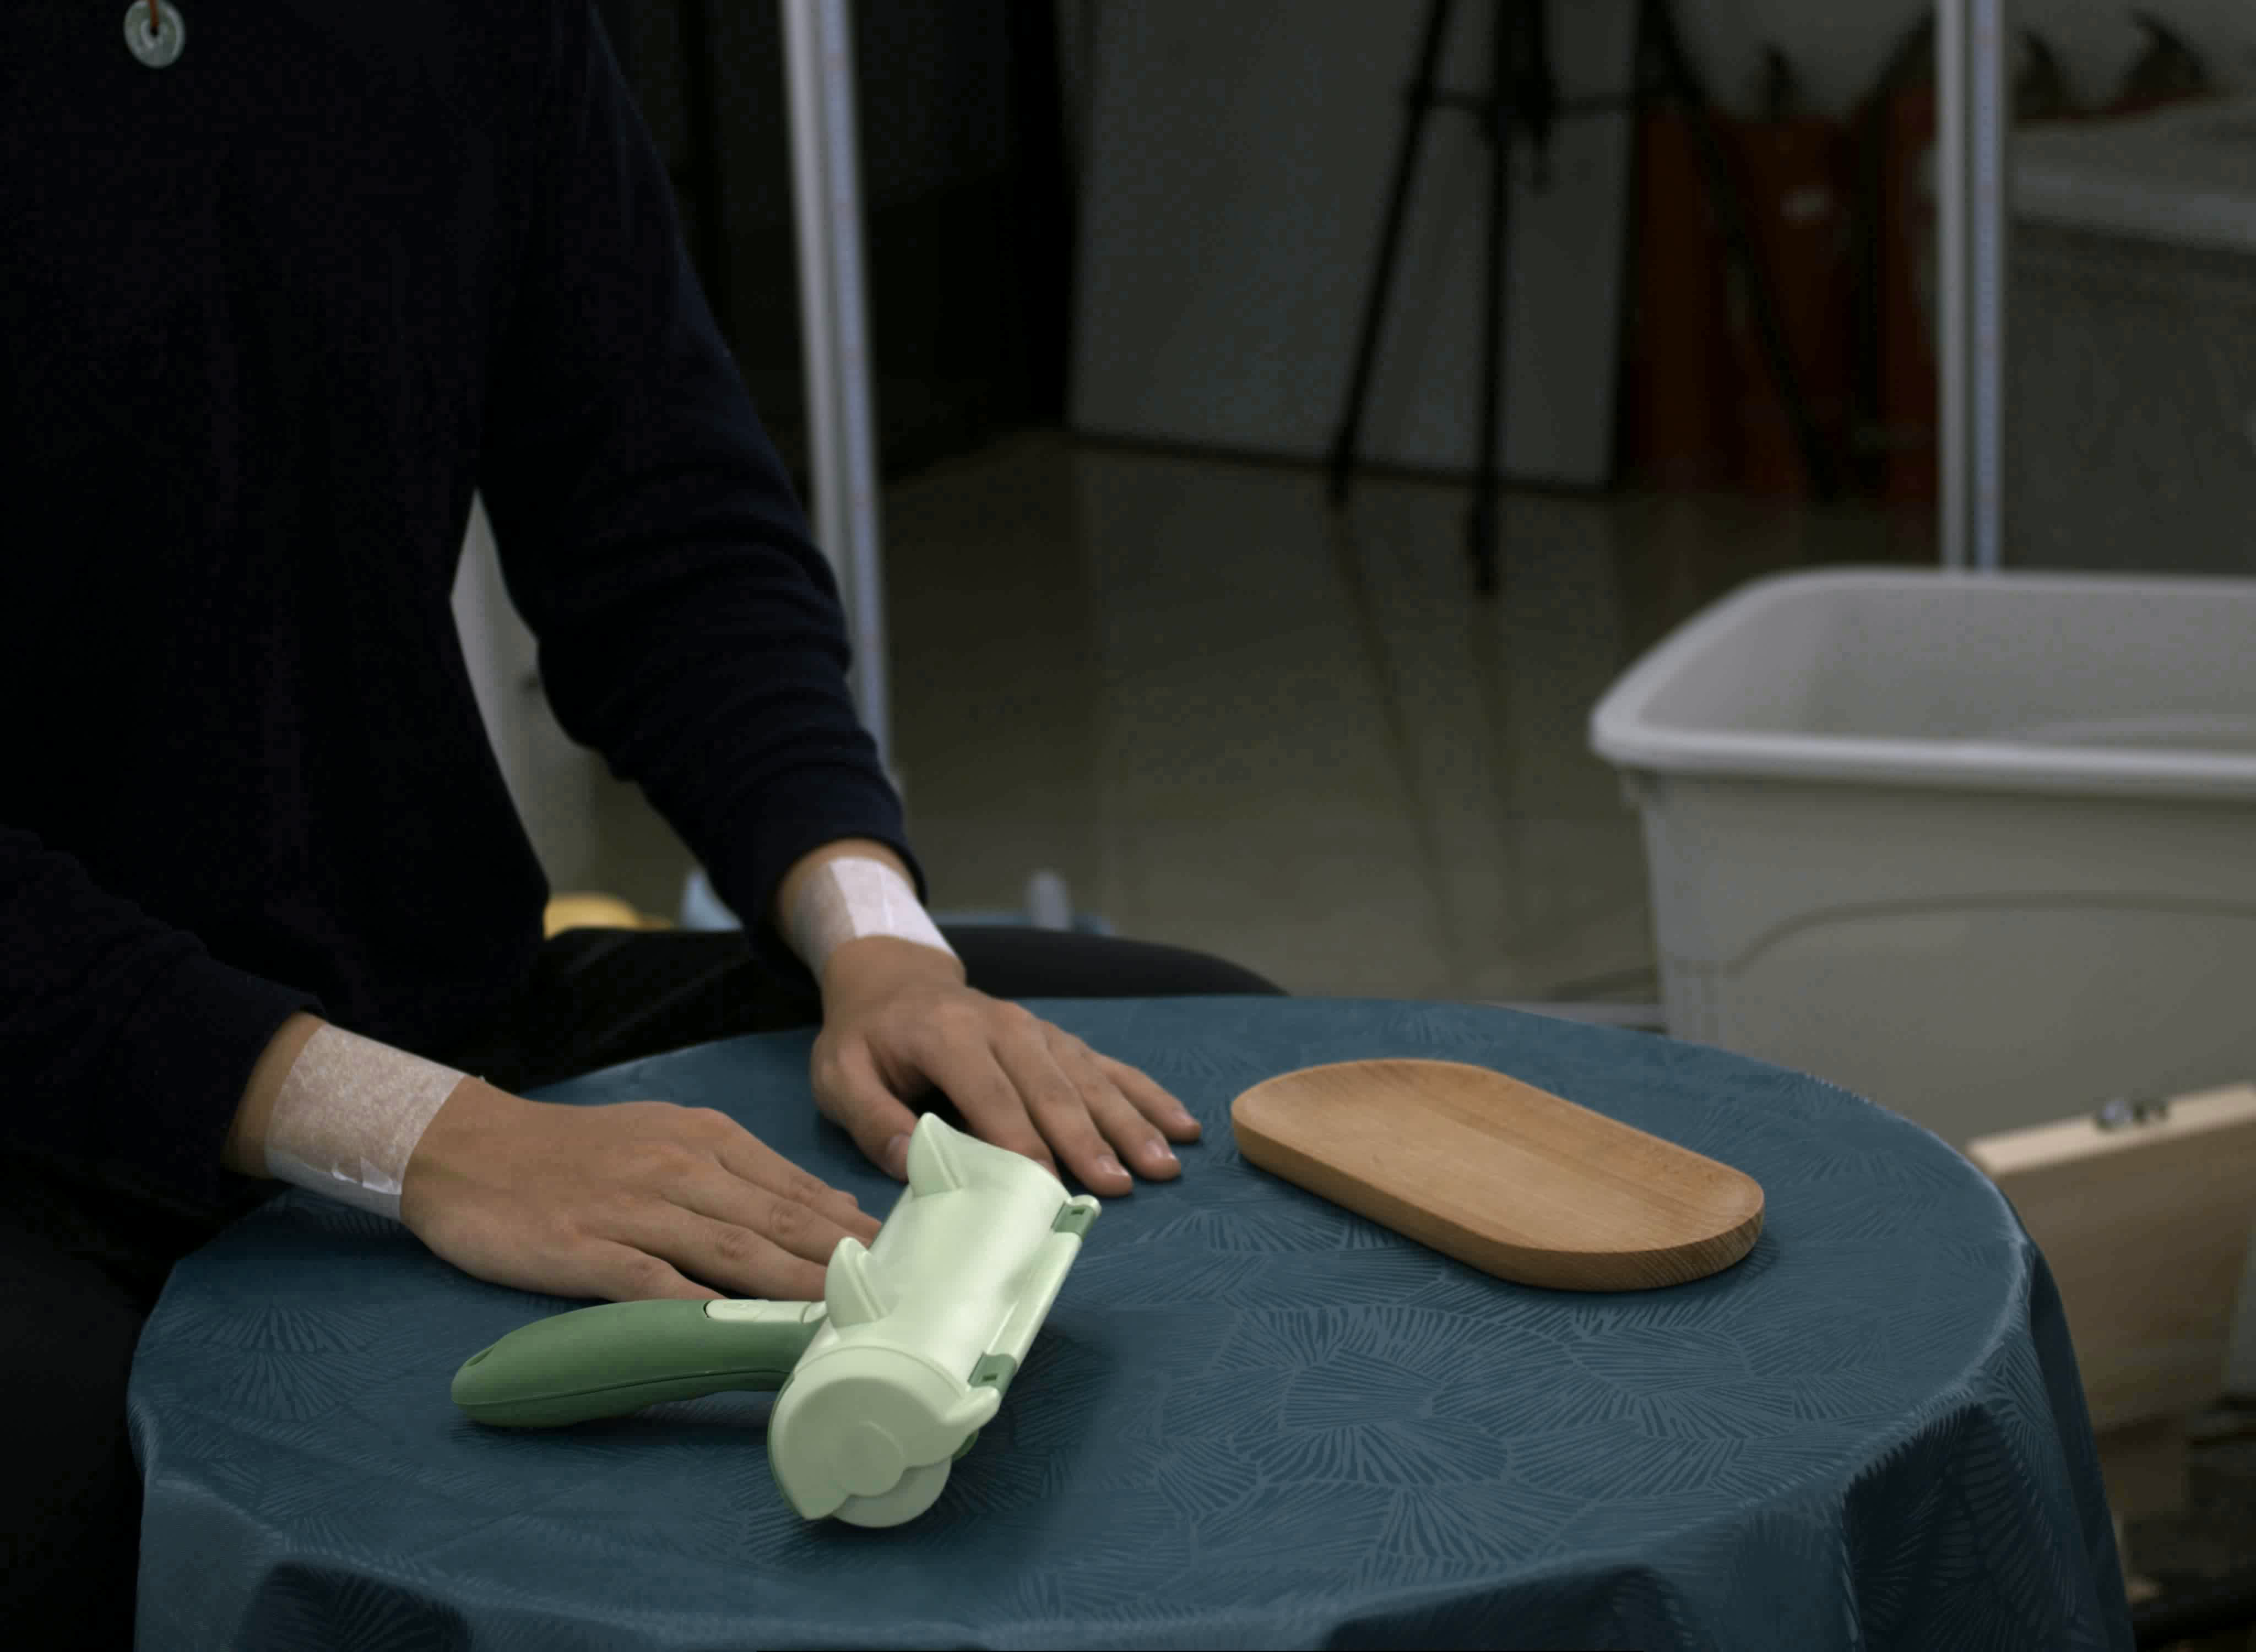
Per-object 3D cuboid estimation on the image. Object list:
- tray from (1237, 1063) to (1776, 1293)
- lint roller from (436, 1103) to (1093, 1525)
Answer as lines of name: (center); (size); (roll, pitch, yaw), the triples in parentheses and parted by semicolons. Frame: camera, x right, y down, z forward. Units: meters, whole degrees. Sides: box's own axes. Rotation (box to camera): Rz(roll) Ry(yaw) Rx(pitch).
tray: (0.119, 0.112, 1.737); (0.099, 0.020, 0.233); (-13, 18, -28)
lint roller: (-0.113, 0.134, 1.571); (0.182, 0.083, 0.198); (4, 14, 9)
